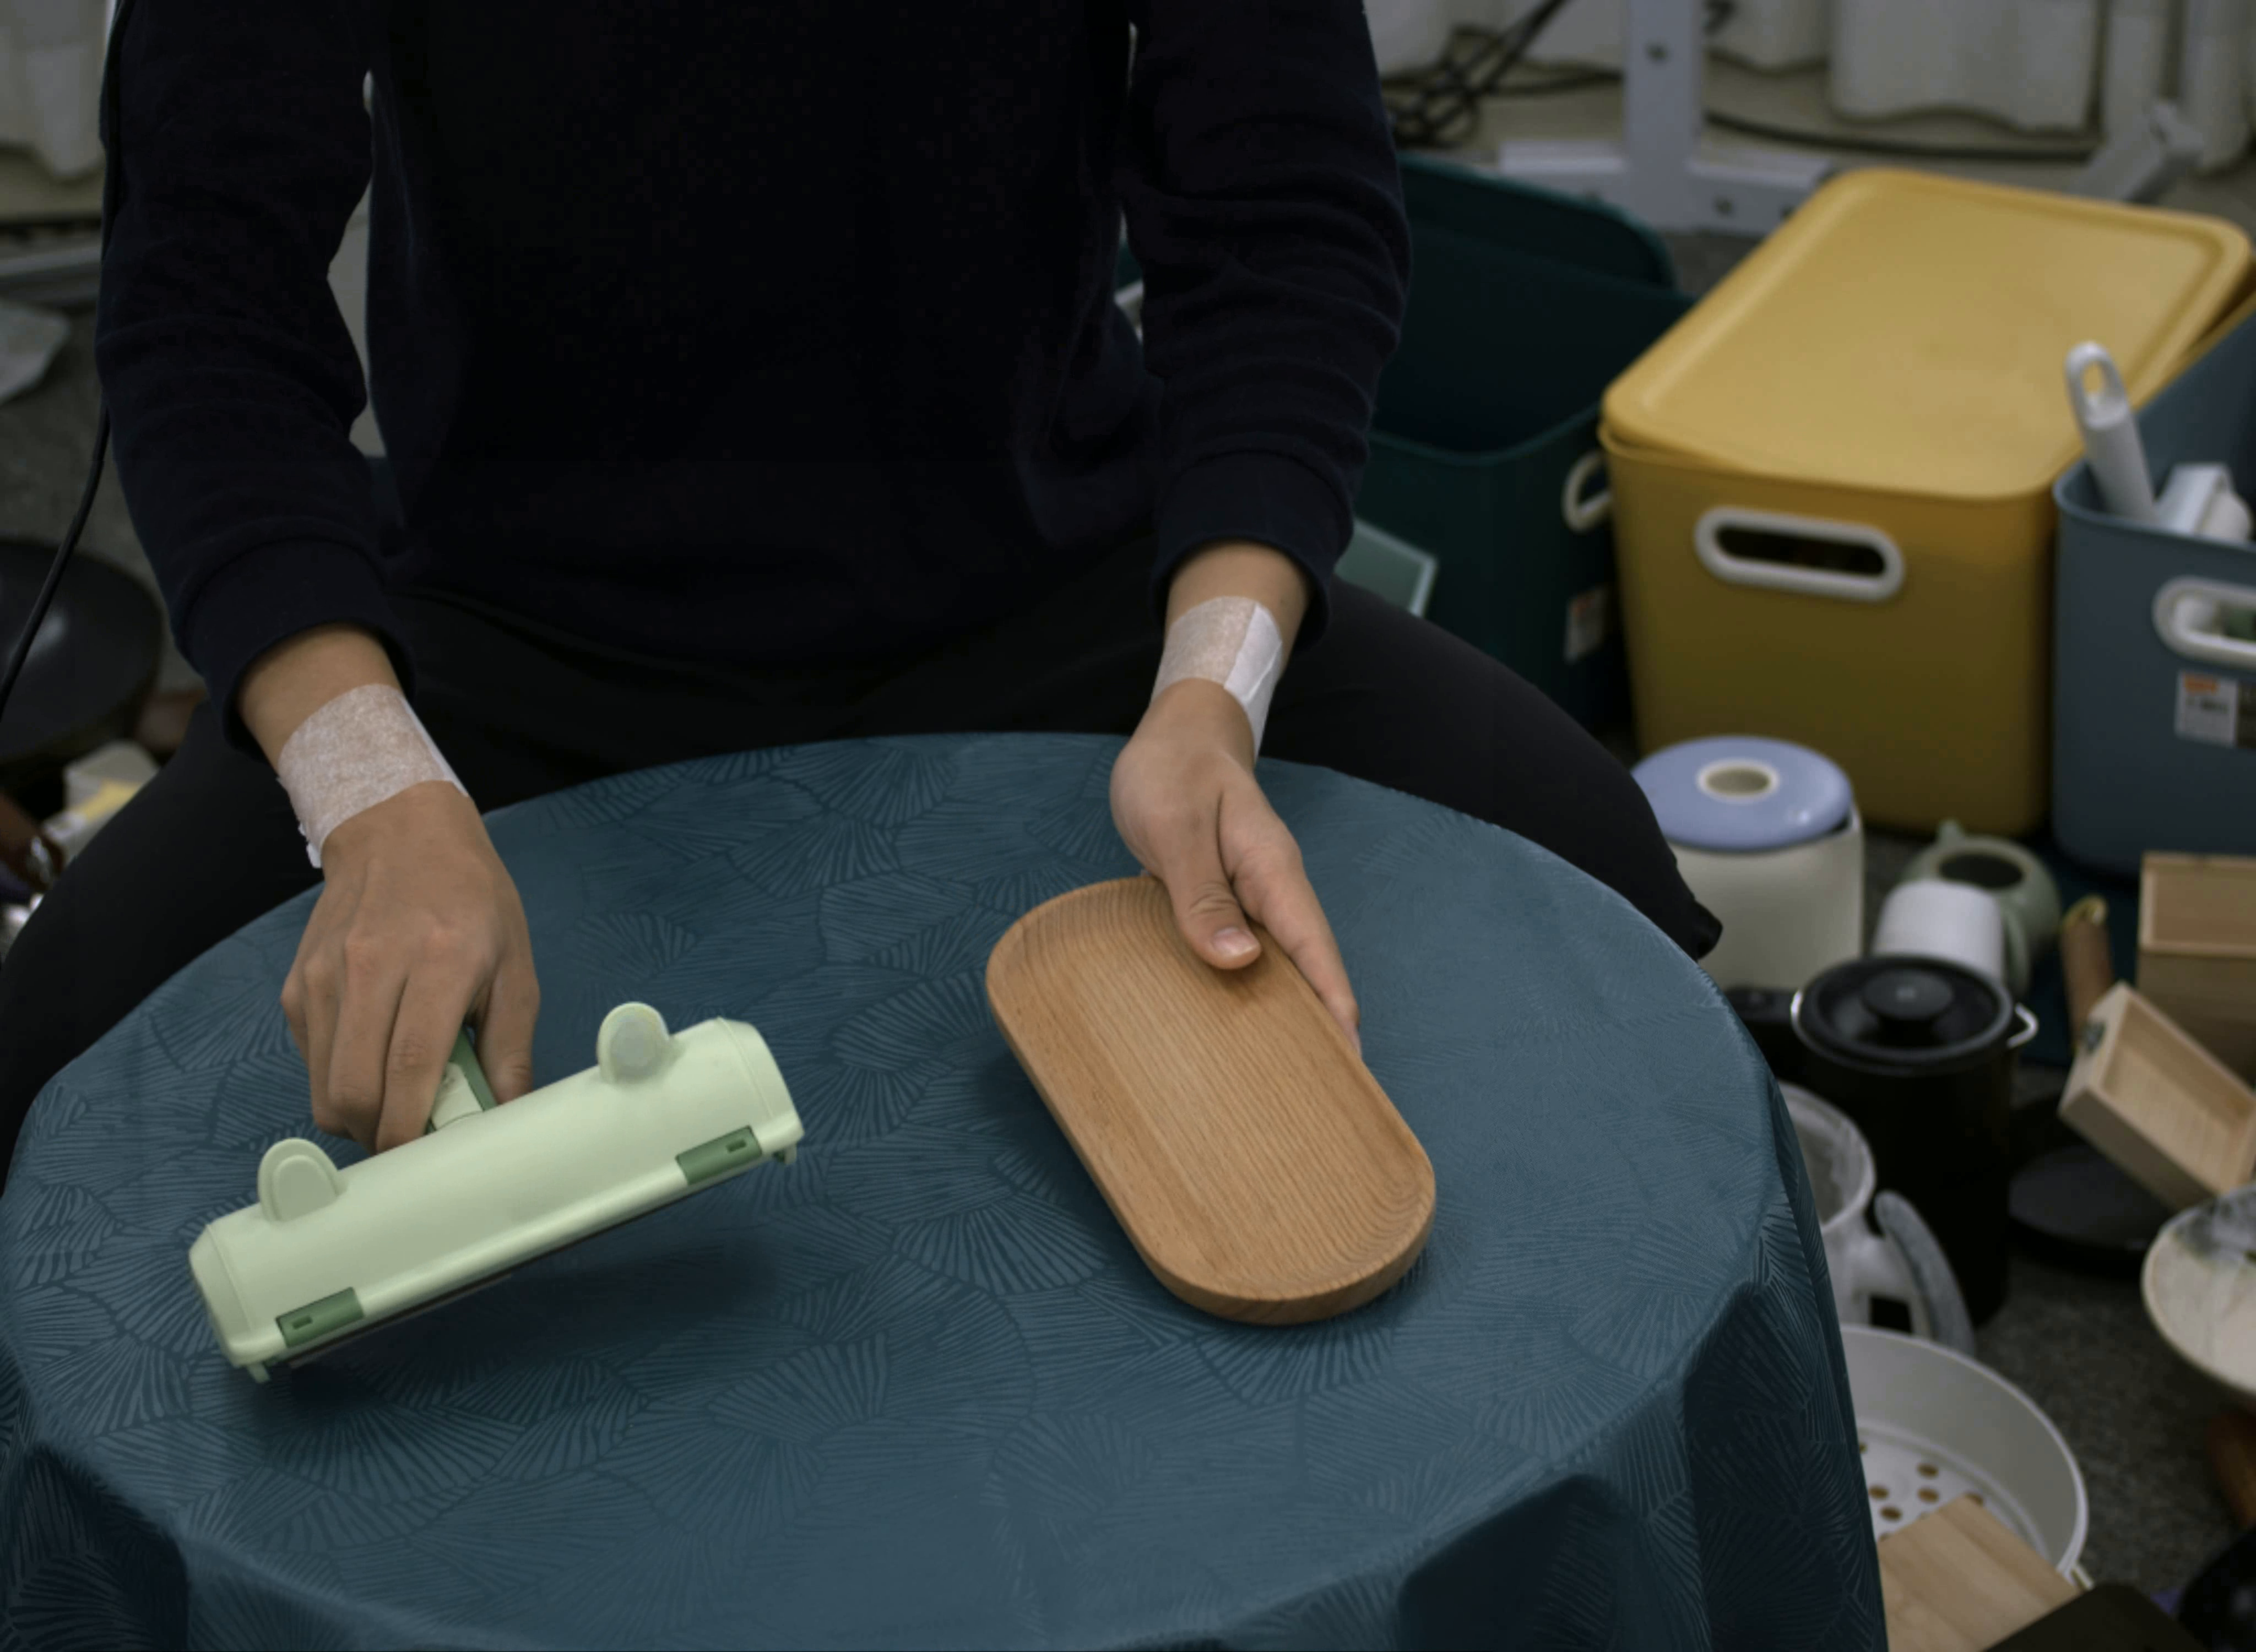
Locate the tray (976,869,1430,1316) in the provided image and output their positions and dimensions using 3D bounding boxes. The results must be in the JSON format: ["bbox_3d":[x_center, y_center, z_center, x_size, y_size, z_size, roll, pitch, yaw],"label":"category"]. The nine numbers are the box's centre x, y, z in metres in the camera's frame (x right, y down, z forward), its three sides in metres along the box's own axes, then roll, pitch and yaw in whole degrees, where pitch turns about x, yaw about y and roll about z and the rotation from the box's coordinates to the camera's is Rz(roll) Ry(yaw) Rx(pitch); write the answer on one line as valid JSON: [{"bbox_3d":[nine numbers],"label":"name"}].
[{"bbox_3d":[0.023,0.086,1.874,0.102,0.020,0.233,-17,37,-15],"label":"tray"}]

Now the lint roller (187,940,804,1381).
[{"bbox_3d":[-0.226,0.079,1.828,0.199,0.081,0.185,-23,46,-14],"label":"lint roller"}]
